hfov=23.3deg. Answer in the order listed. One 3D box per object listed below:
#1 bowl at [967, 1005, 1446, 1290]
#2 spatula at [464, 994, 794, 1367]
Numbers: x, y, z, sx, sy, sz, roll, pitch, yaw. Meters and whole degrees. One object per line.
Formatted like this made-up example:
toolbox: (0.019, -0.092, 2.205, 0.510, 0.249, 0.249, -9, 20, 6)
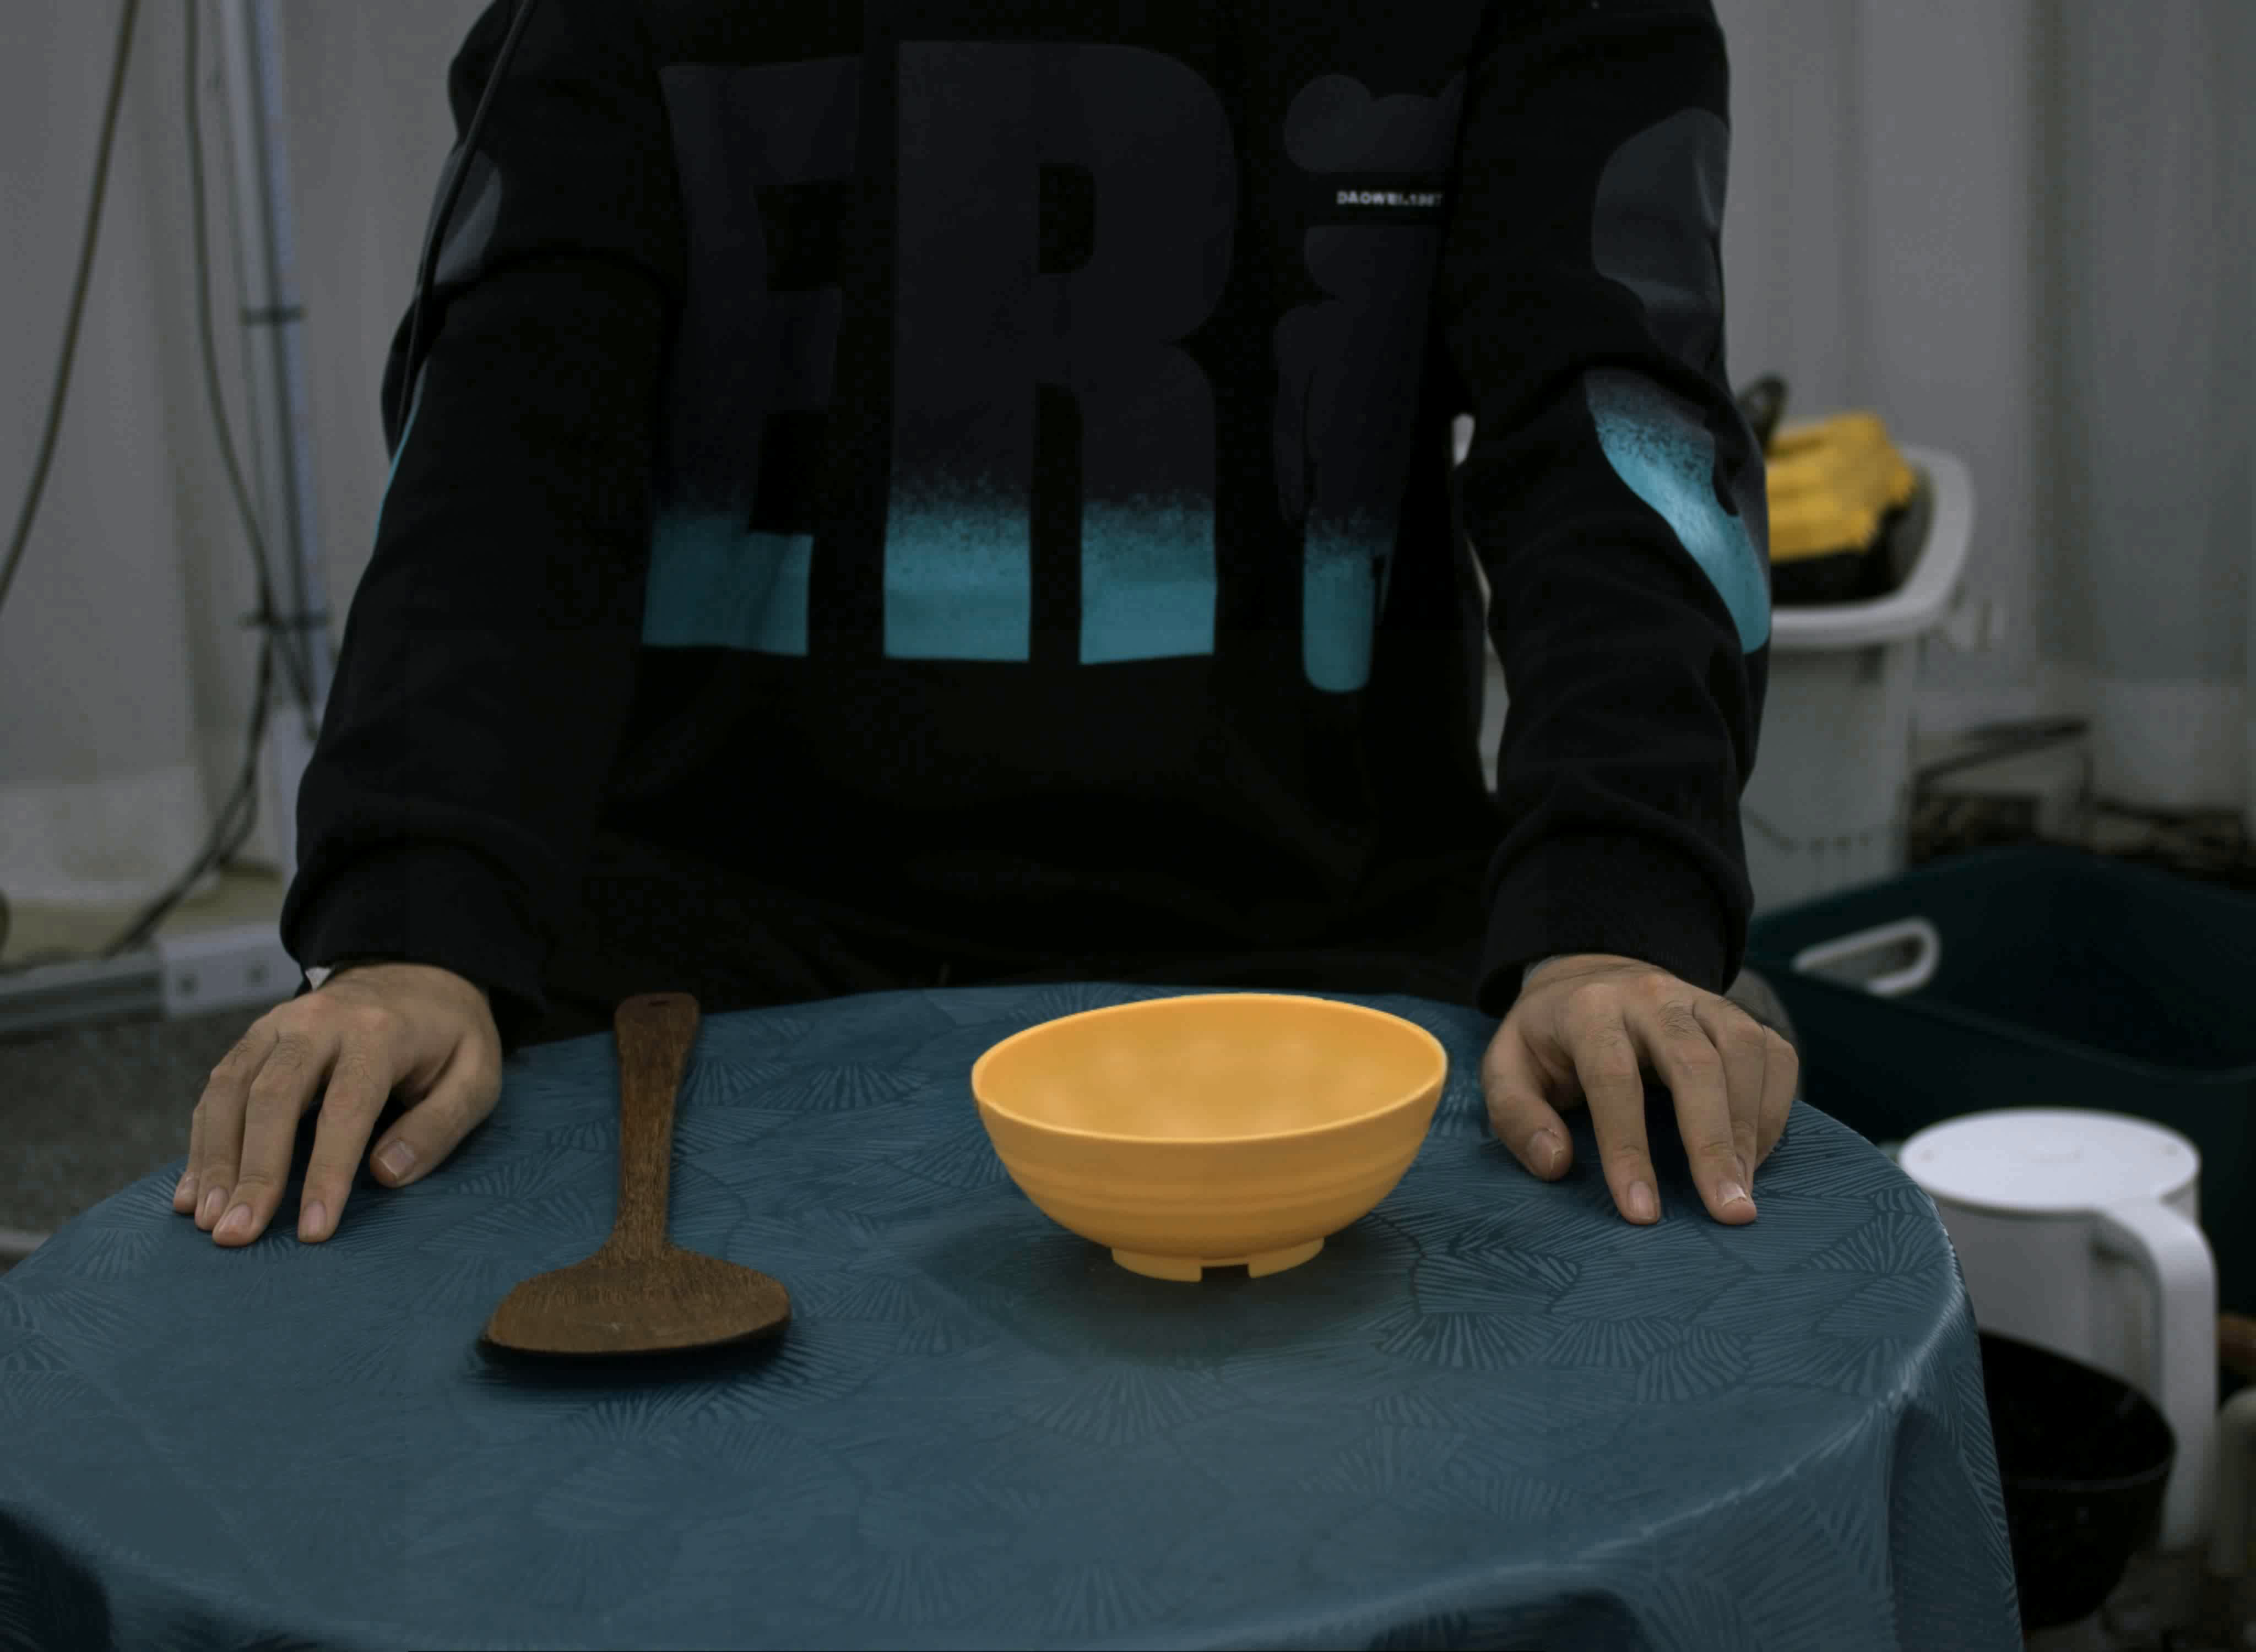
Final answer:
bowl: (0.024, 0.102, 1.653, 0.145, 0.060, 0.146, -1, 13, 0)
spatula: (-0.155, 0.107, 1.748, 0.096, 0.016, 0.388, -3, 14, -3)
